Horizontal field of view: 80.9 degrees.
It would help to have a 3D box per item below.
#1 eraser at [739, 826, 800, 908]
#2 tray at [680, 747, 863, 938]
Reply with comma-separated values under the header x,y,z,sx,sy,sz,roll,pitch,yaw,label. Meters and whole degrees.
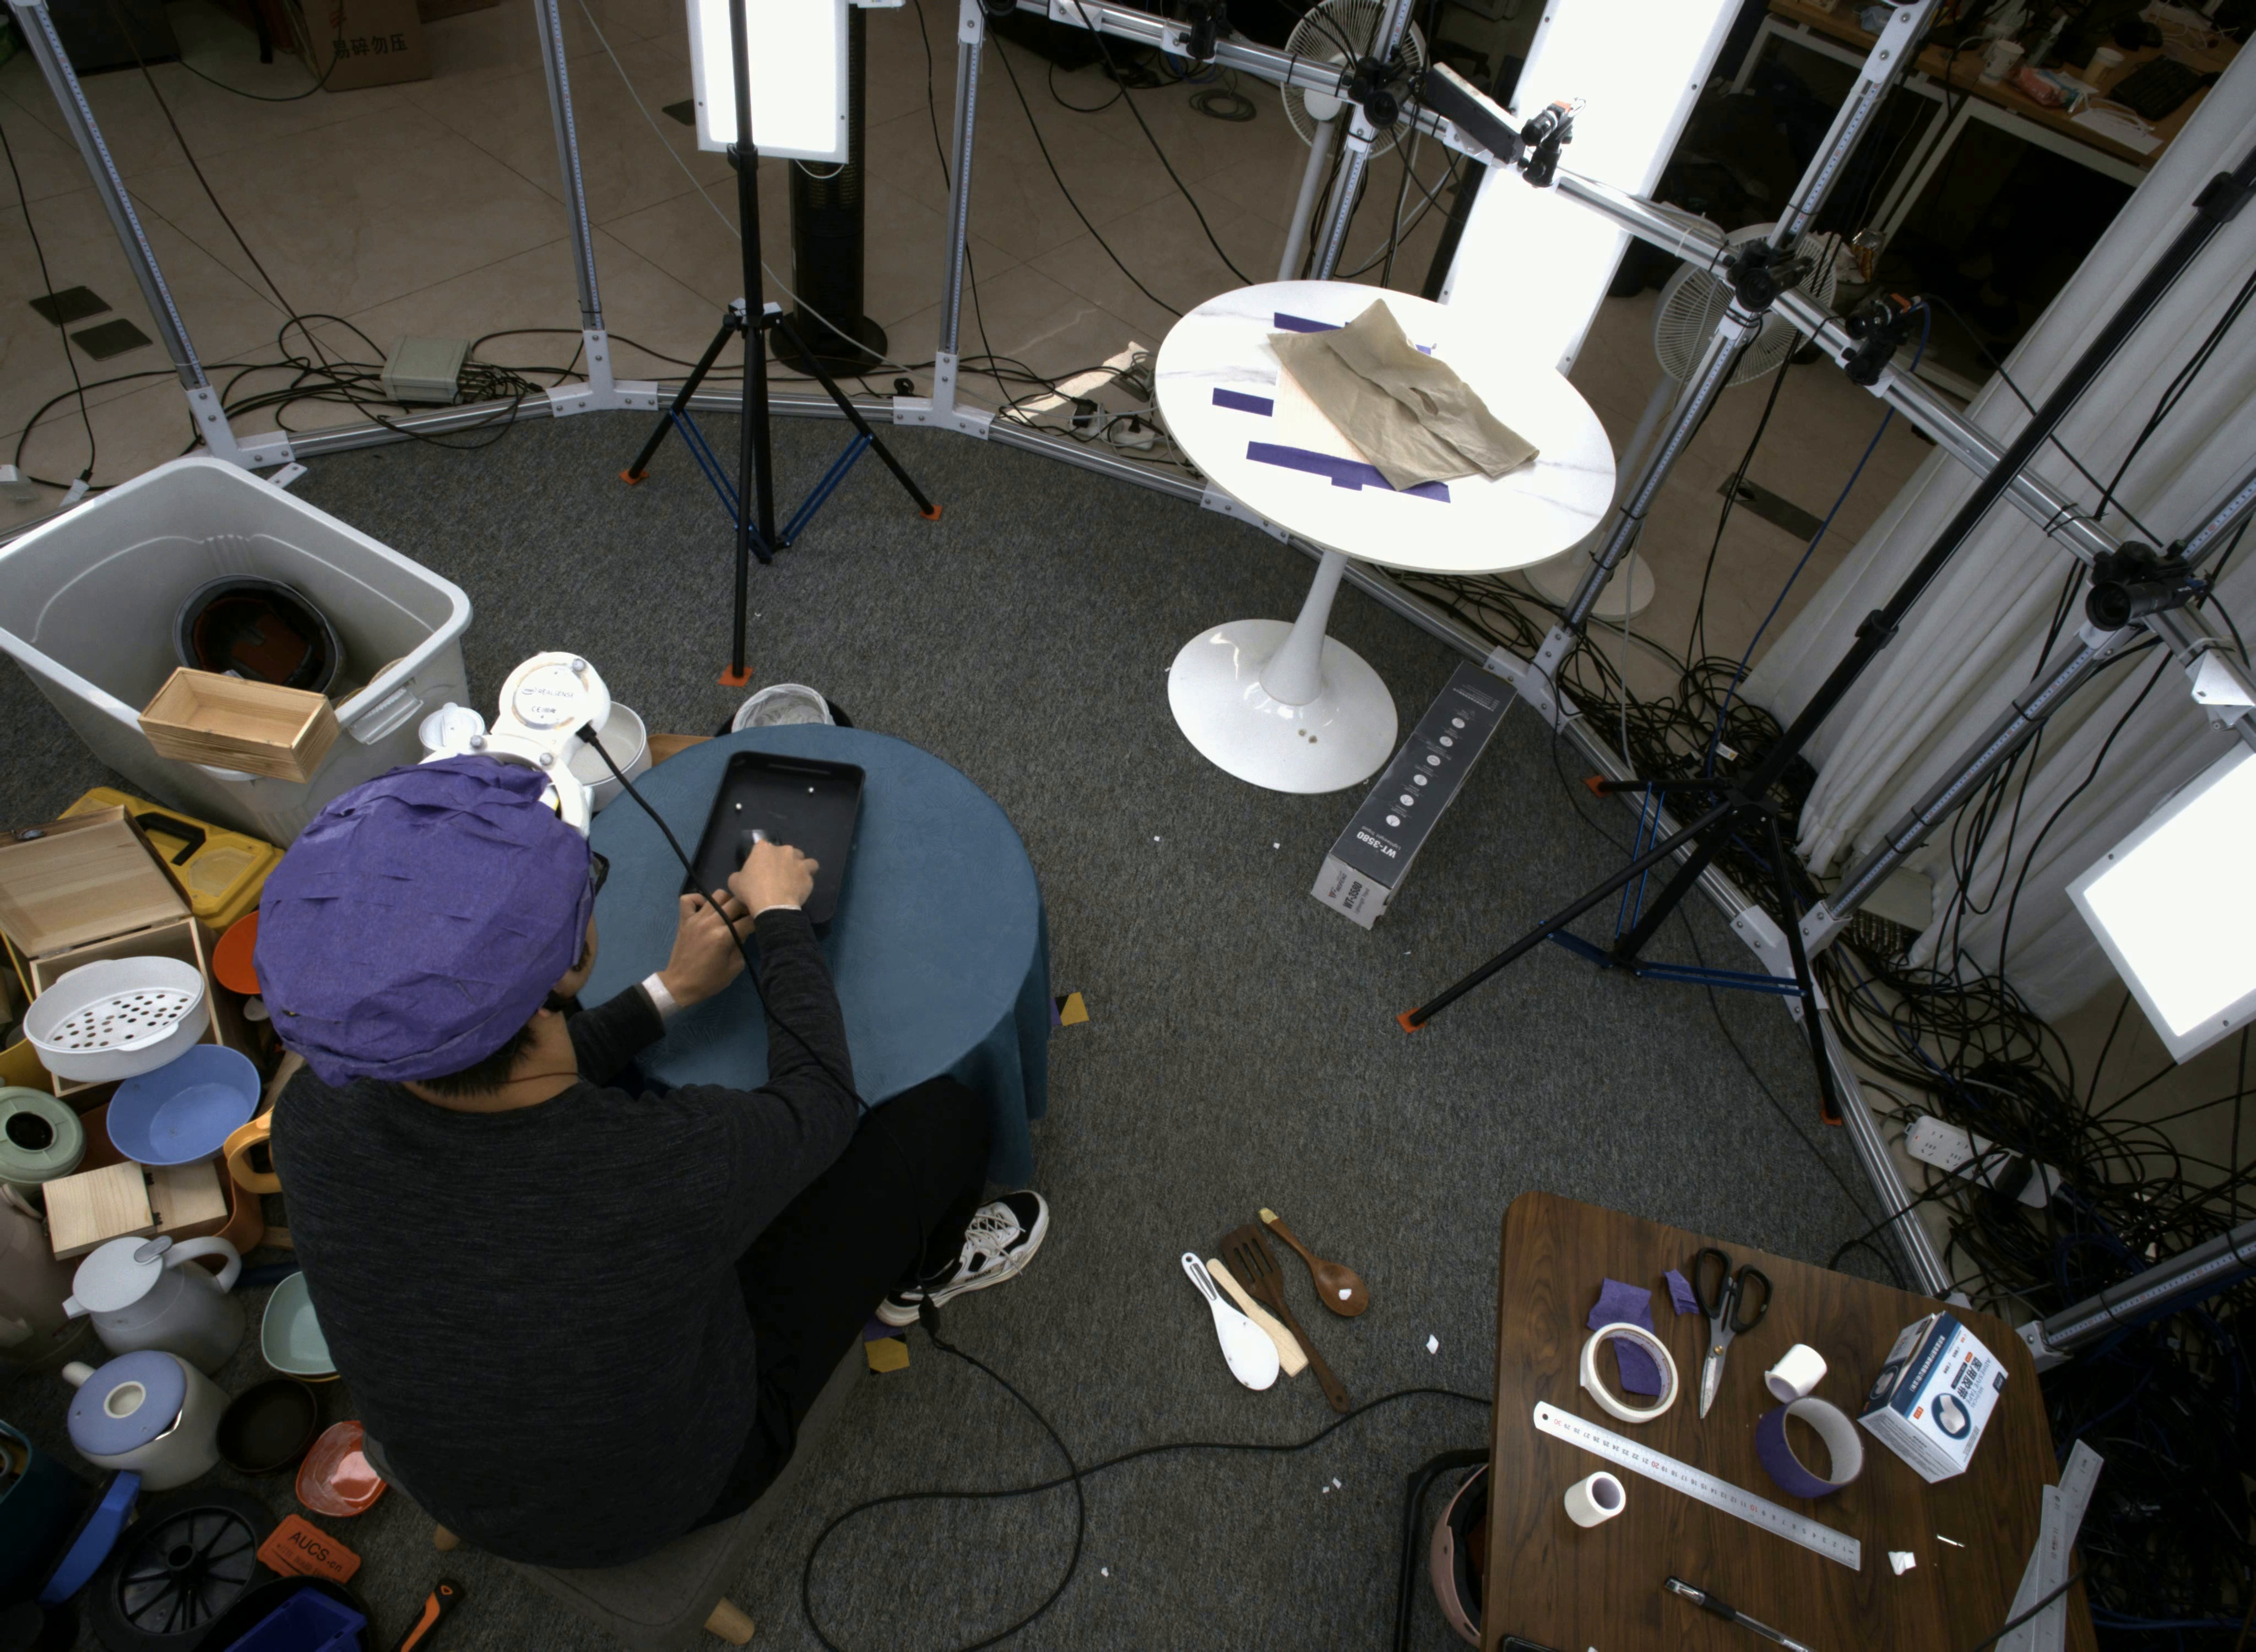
x,y,z,sx,sy,sz,roll,pitch,yaw,label
-0.441,0.048,1.588,0.054,0.031,0.121,-6,39,-25,eraser
-0.443,0.013,1.638,0.184,0.038,0.310,7,39,-10,tray
